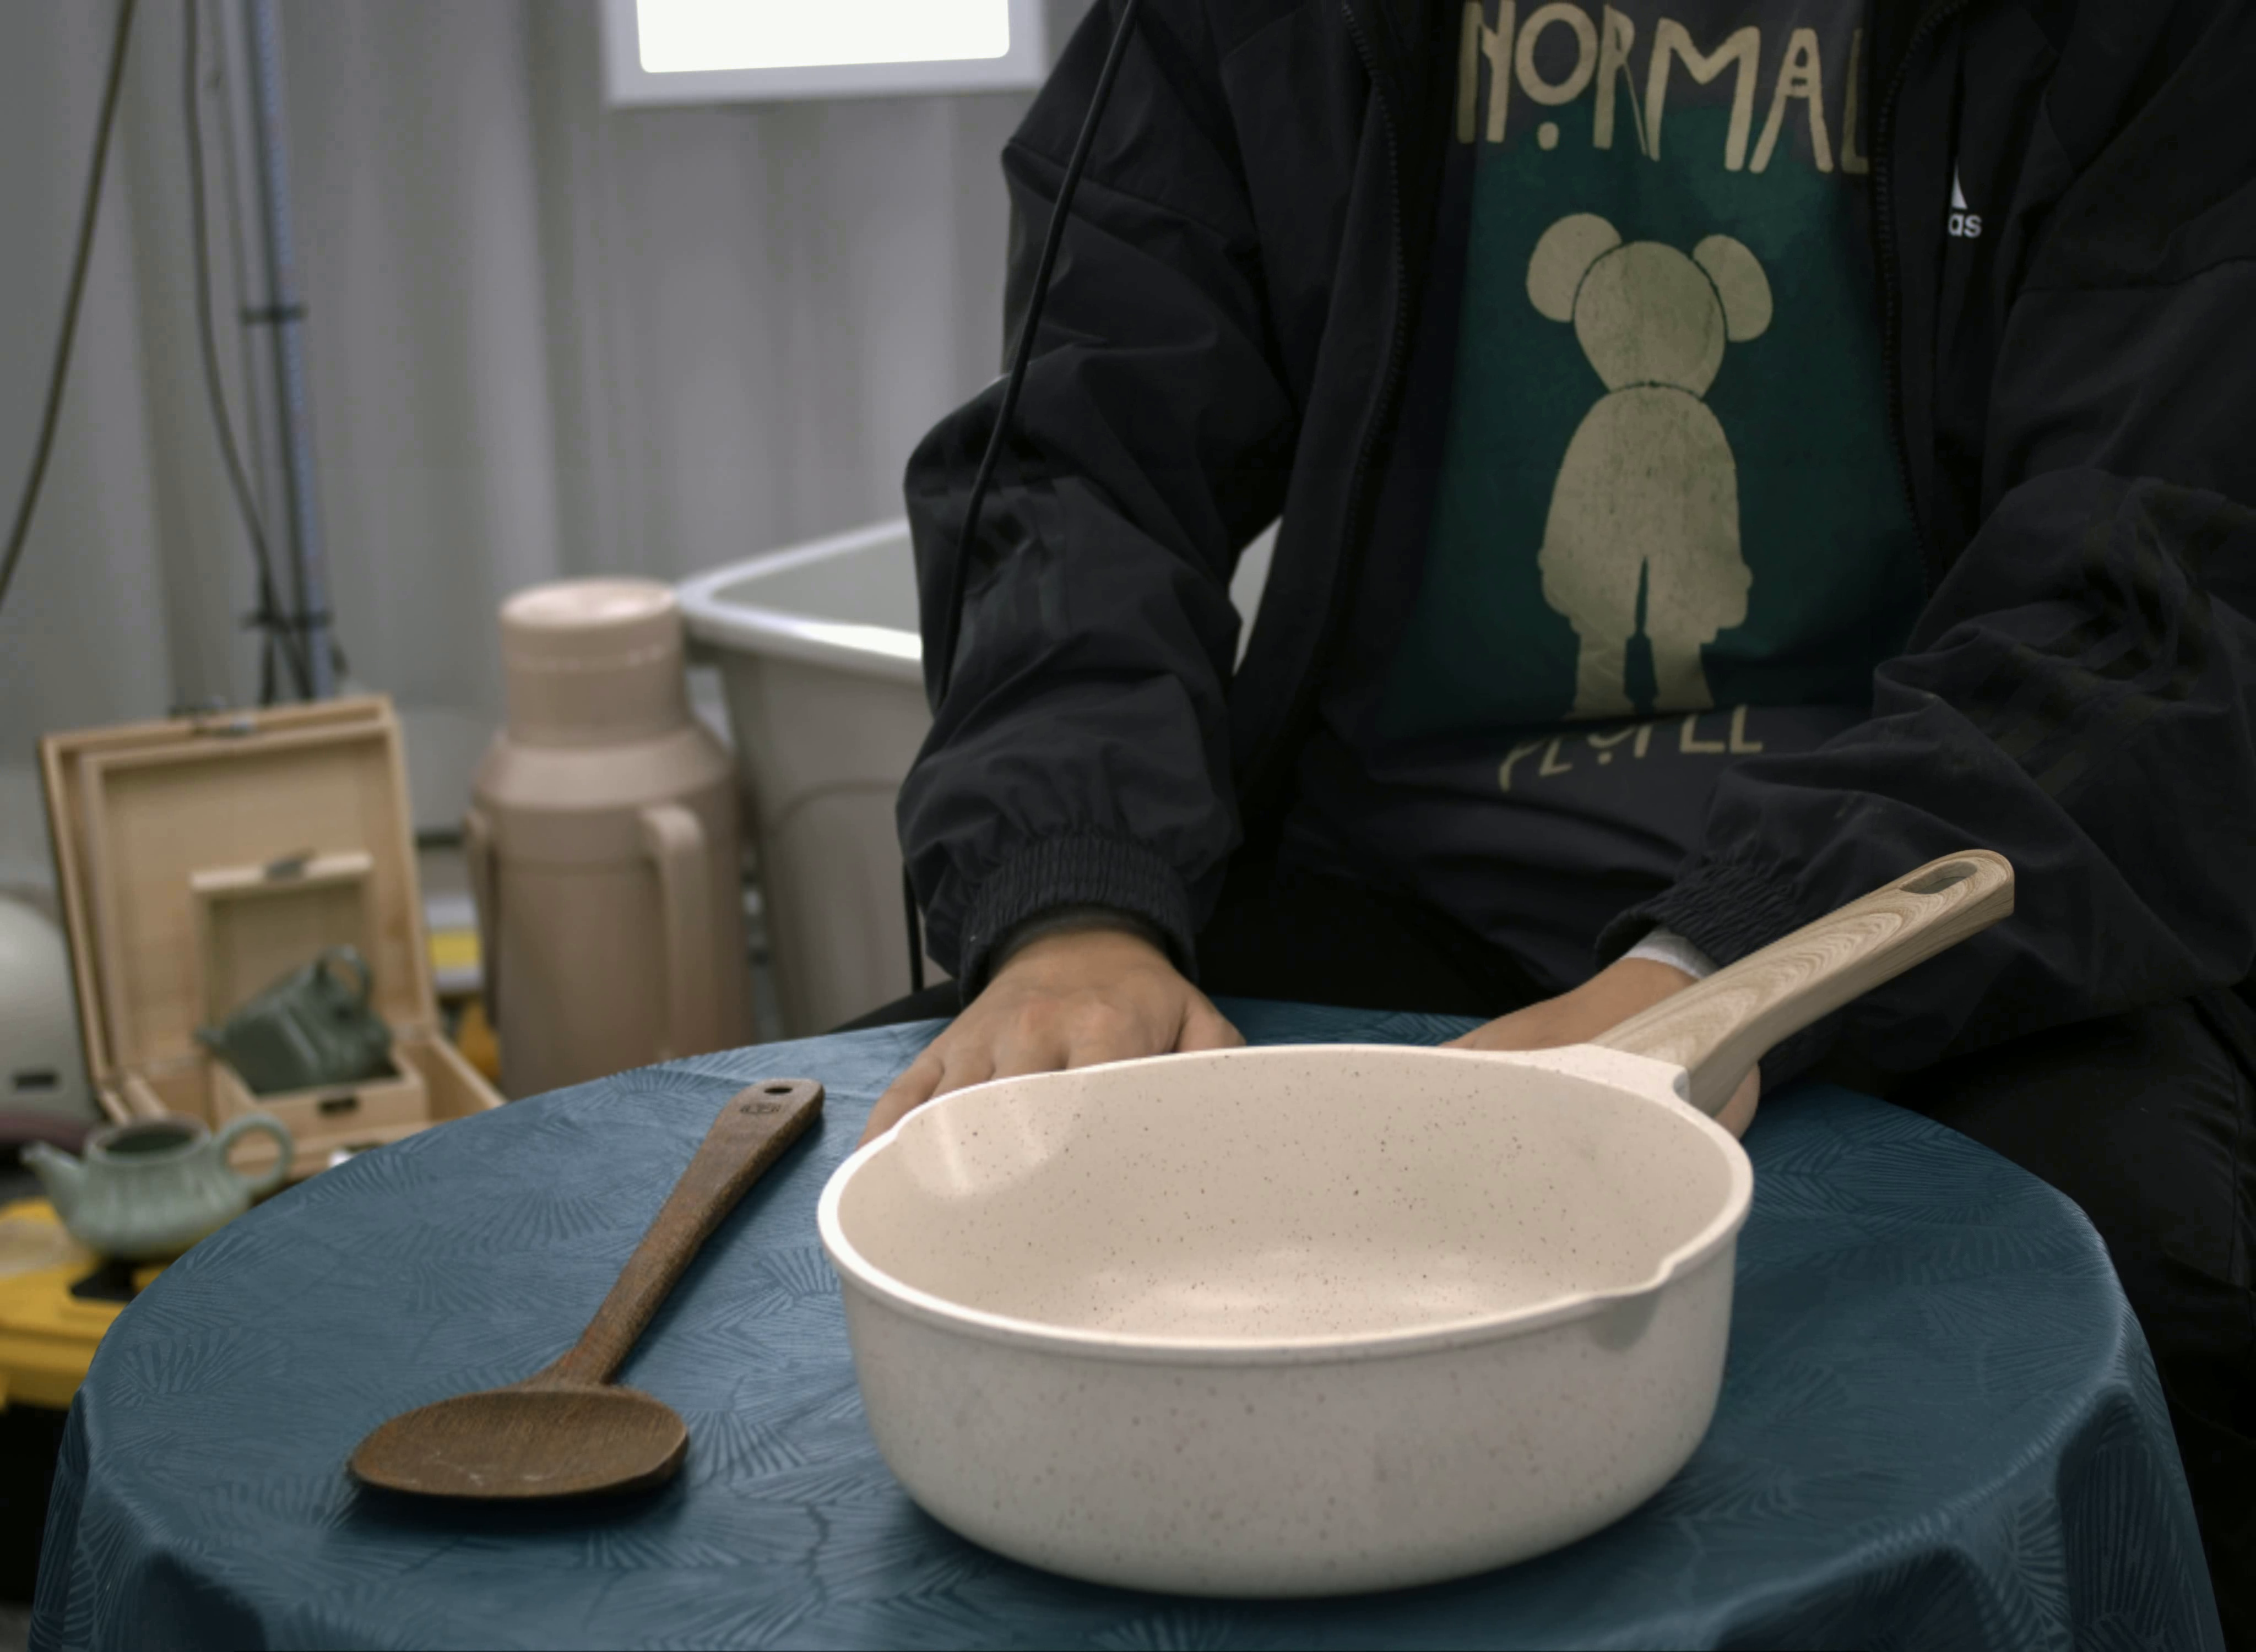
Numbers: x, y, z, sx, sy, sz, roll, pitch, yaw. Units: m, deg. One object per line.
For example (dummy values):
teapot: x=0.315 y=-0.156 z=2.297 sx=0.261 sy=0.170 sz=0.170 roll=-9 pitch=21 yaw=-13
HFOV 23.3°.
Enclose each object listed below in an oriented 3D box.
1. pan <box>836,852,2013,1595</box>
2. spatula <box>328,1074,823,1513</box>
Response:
pan: x=0.114 y=0.106 z=1.528 sx=0.434 sy=0.101 sz=0.265 roll=-17 pitch=19 yaw=-42
spatula: x=-0.143 y=0.133 z=1.643 sx=0.096 sy=0.016 sz=0.388 roll=0 pitch=15 yaw=9
